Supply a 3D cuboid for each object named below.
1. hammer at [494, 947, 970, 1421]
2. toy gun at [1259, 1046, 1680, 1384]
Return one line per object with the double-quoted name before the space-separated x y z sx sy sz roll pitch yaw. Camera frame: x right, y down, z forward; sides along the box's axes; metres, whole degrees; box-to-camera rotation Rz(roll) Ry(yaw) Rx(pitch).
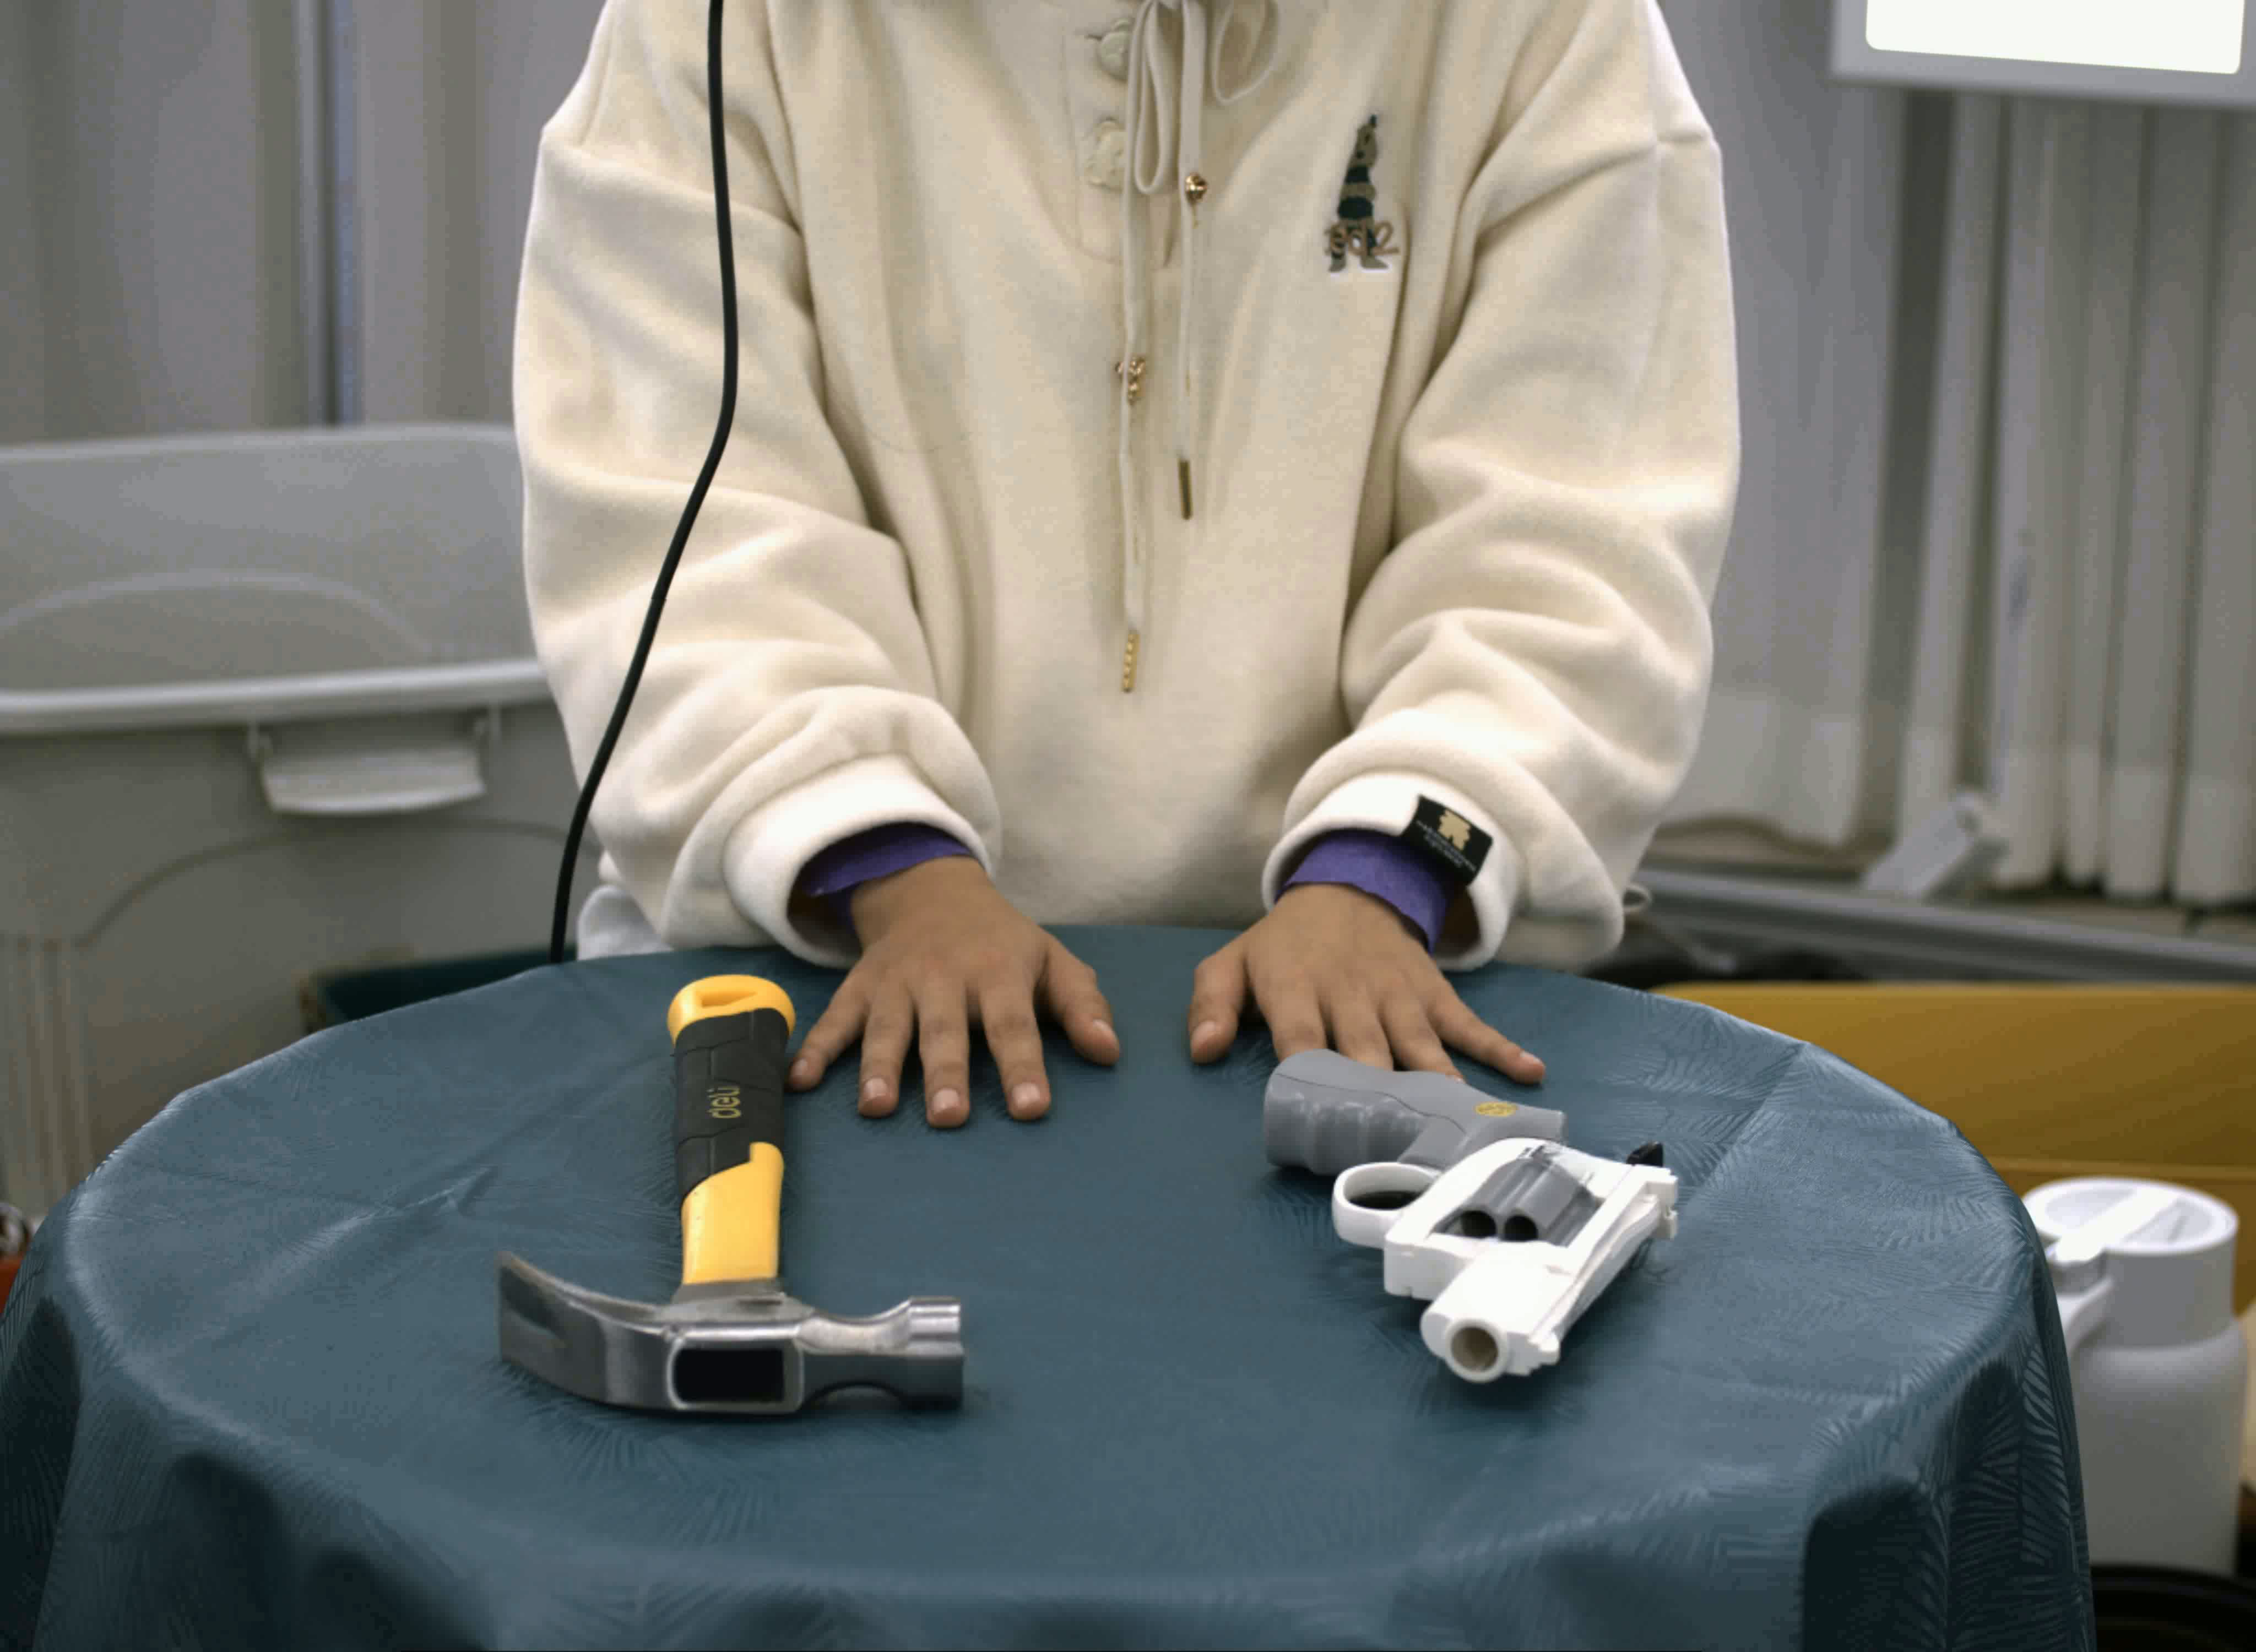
"hammer" -0.120 0.100 1.587 0.131 0.032 0.336 -2 18 -4
"toy gun" 0.088 0.112 1.551 0.140 0.039 0.209 6 16 17
